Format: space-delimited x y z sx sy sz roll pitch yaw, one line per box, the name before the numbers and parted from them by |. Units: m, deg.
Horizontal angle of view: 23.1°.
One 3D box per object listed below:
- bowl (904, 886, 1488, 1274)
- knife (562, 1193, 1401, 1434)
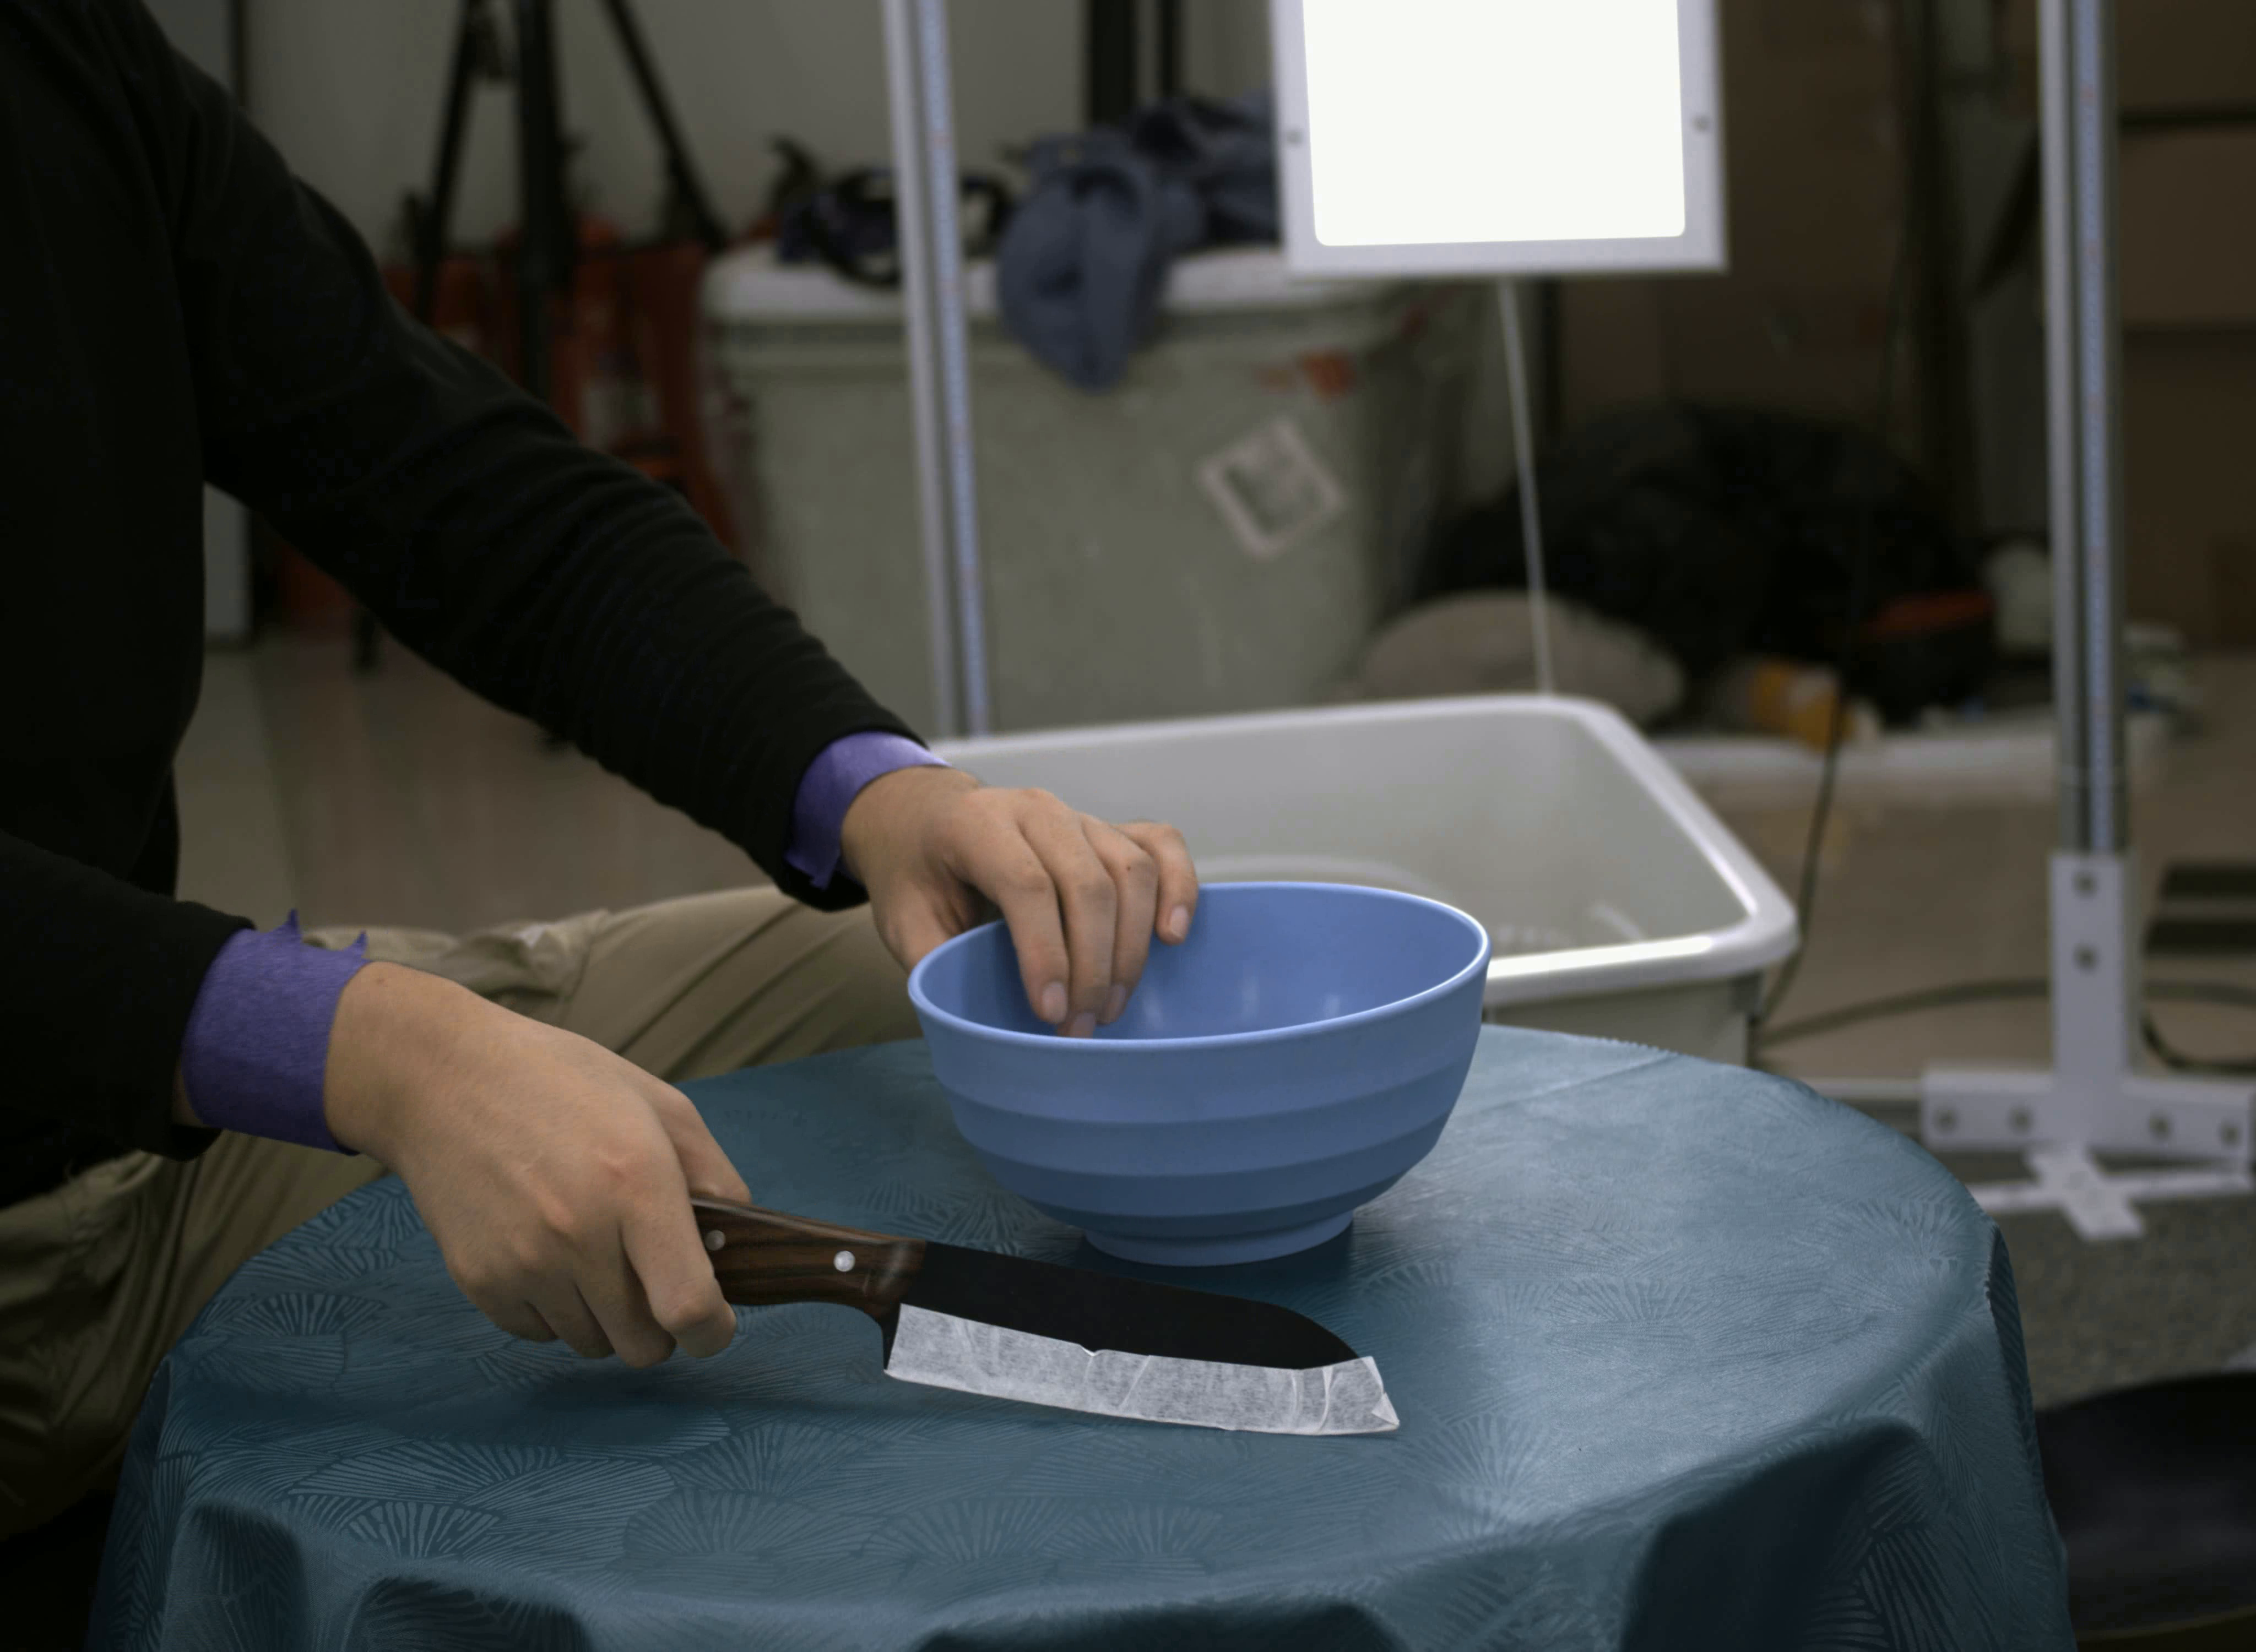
bowl | 0.027 0.091 1.845 0.196 0.096 0.196 -7 14 0
knife | -0.049 0.150 1.702 0.293 0.050 0.020 10 -12 24
